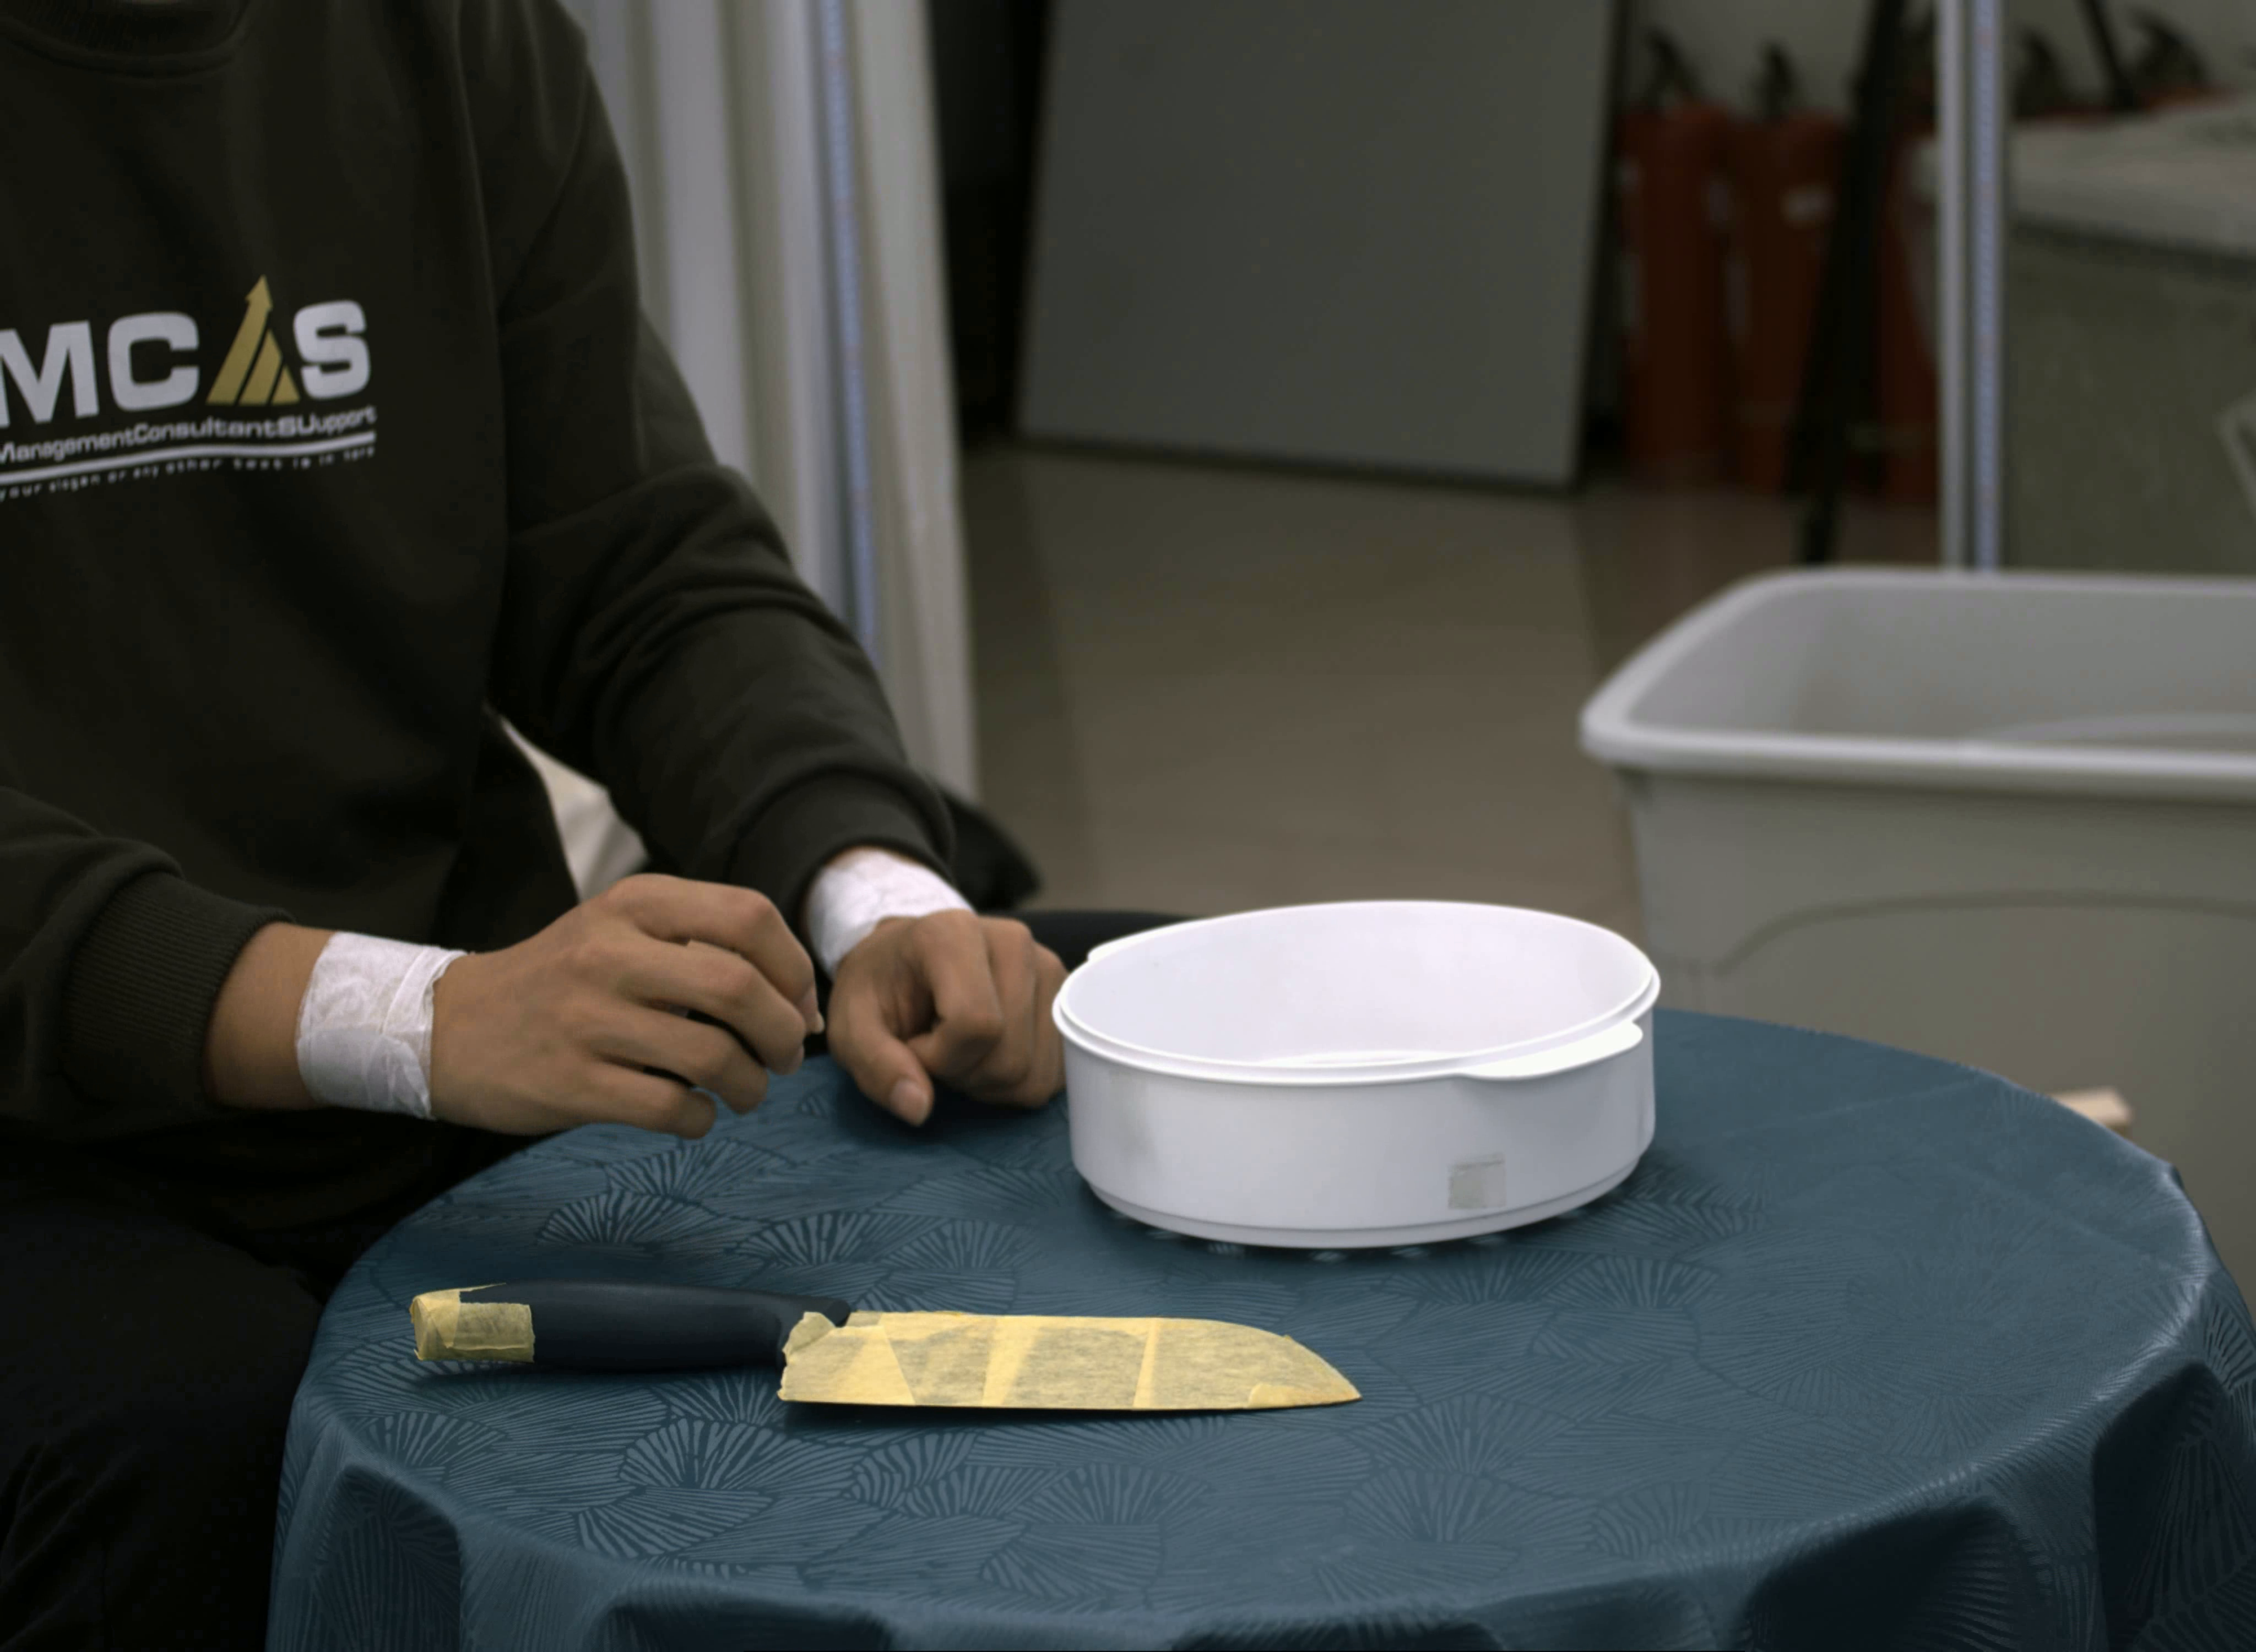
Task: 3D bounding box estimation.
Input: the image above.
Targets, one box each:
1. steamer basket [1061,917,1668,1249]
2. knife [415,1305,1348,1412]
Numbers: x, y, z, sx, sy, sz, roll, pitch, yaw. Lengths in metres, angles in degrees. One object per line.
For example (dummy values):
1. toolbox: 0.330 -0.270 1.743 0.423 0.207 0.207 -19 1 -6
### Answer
1. steamer basket: 0.079 0.084 1.763 0.197 0.070 0.233 -12 14 -35
2. knife: -0.075 0.160 1.605 0.287 0.027 0.081 -1 13 9
